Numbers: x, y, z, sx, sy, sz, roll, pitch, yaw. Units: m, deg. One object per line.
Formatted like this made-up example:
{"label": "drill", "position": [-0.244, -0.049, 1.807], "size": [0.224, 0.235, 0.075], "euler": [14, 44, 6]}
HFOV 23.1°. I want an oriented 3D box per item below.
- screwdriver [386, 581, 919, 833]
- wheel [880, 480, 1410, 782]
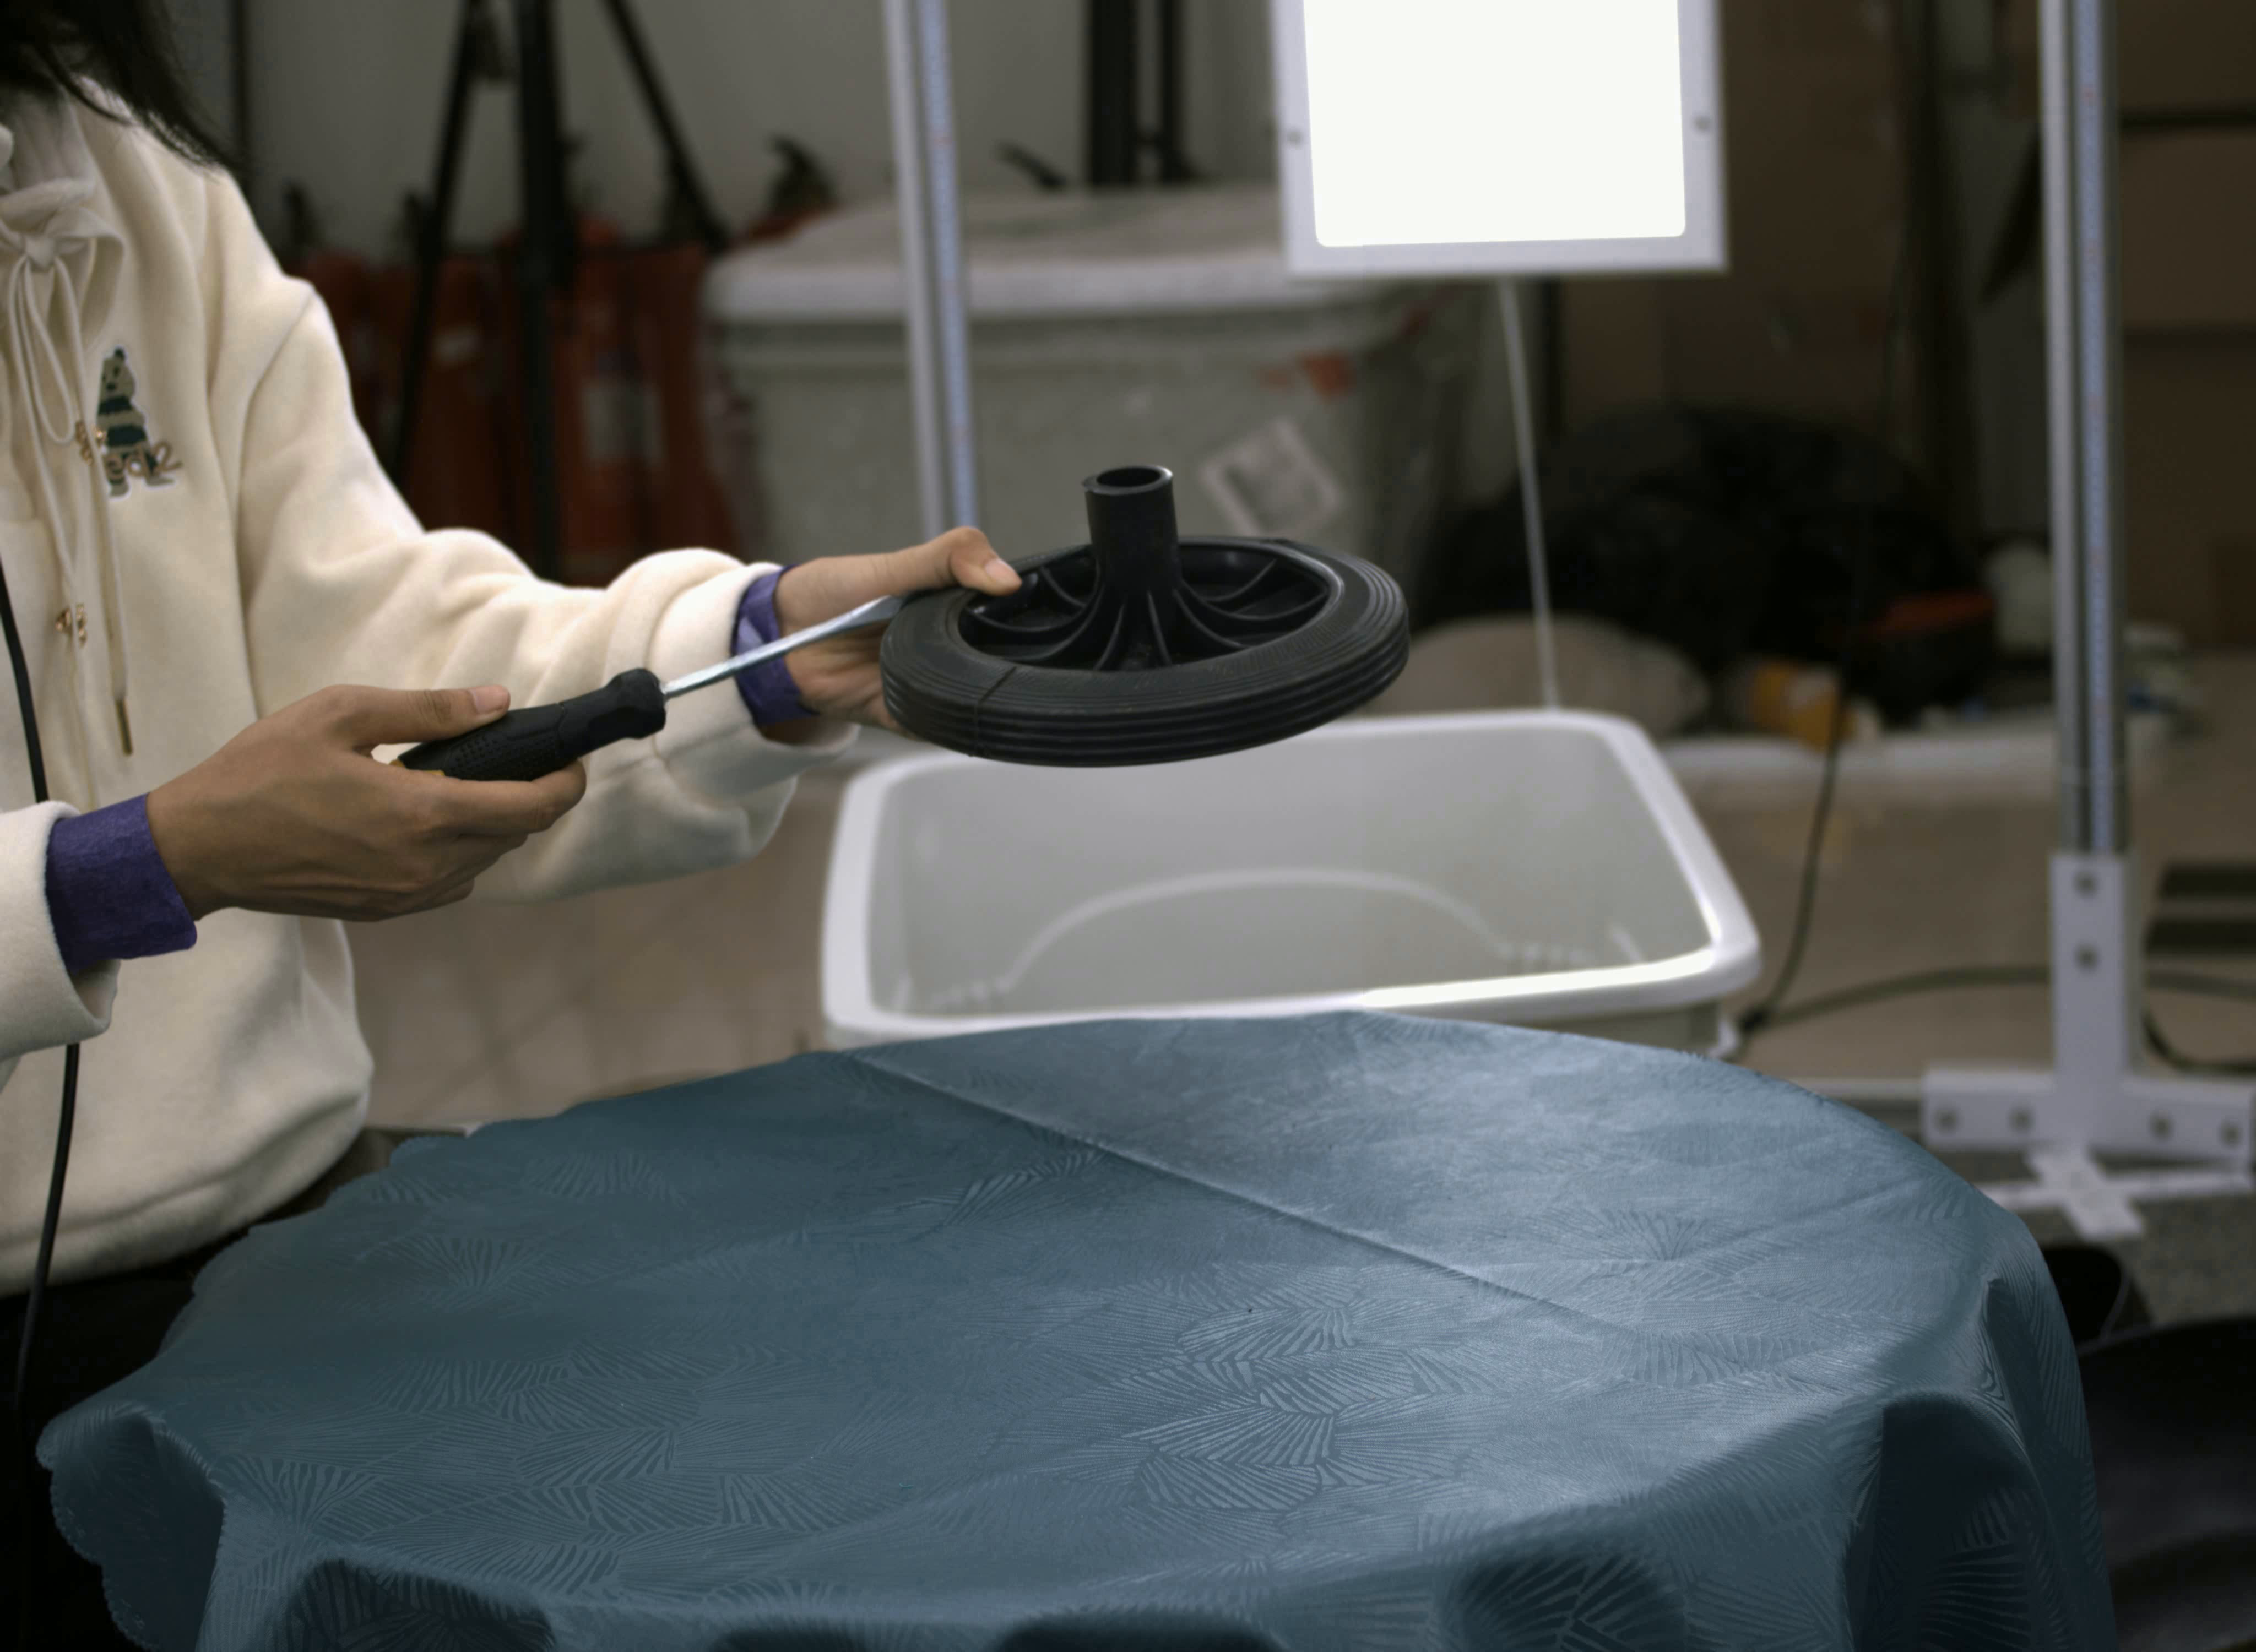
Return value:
{"label": "screwdriver", "position": [-0.159, -0.040, 1.867], "size": [0.195, 0.031, 0.032], "euler": [-20, 17, -13]}
{"label": "wheel", "position": [0.004, -0.079, 1.933], "size": [0.185, 0.079, 0.191], "euler": [-11, 23, -12]}
